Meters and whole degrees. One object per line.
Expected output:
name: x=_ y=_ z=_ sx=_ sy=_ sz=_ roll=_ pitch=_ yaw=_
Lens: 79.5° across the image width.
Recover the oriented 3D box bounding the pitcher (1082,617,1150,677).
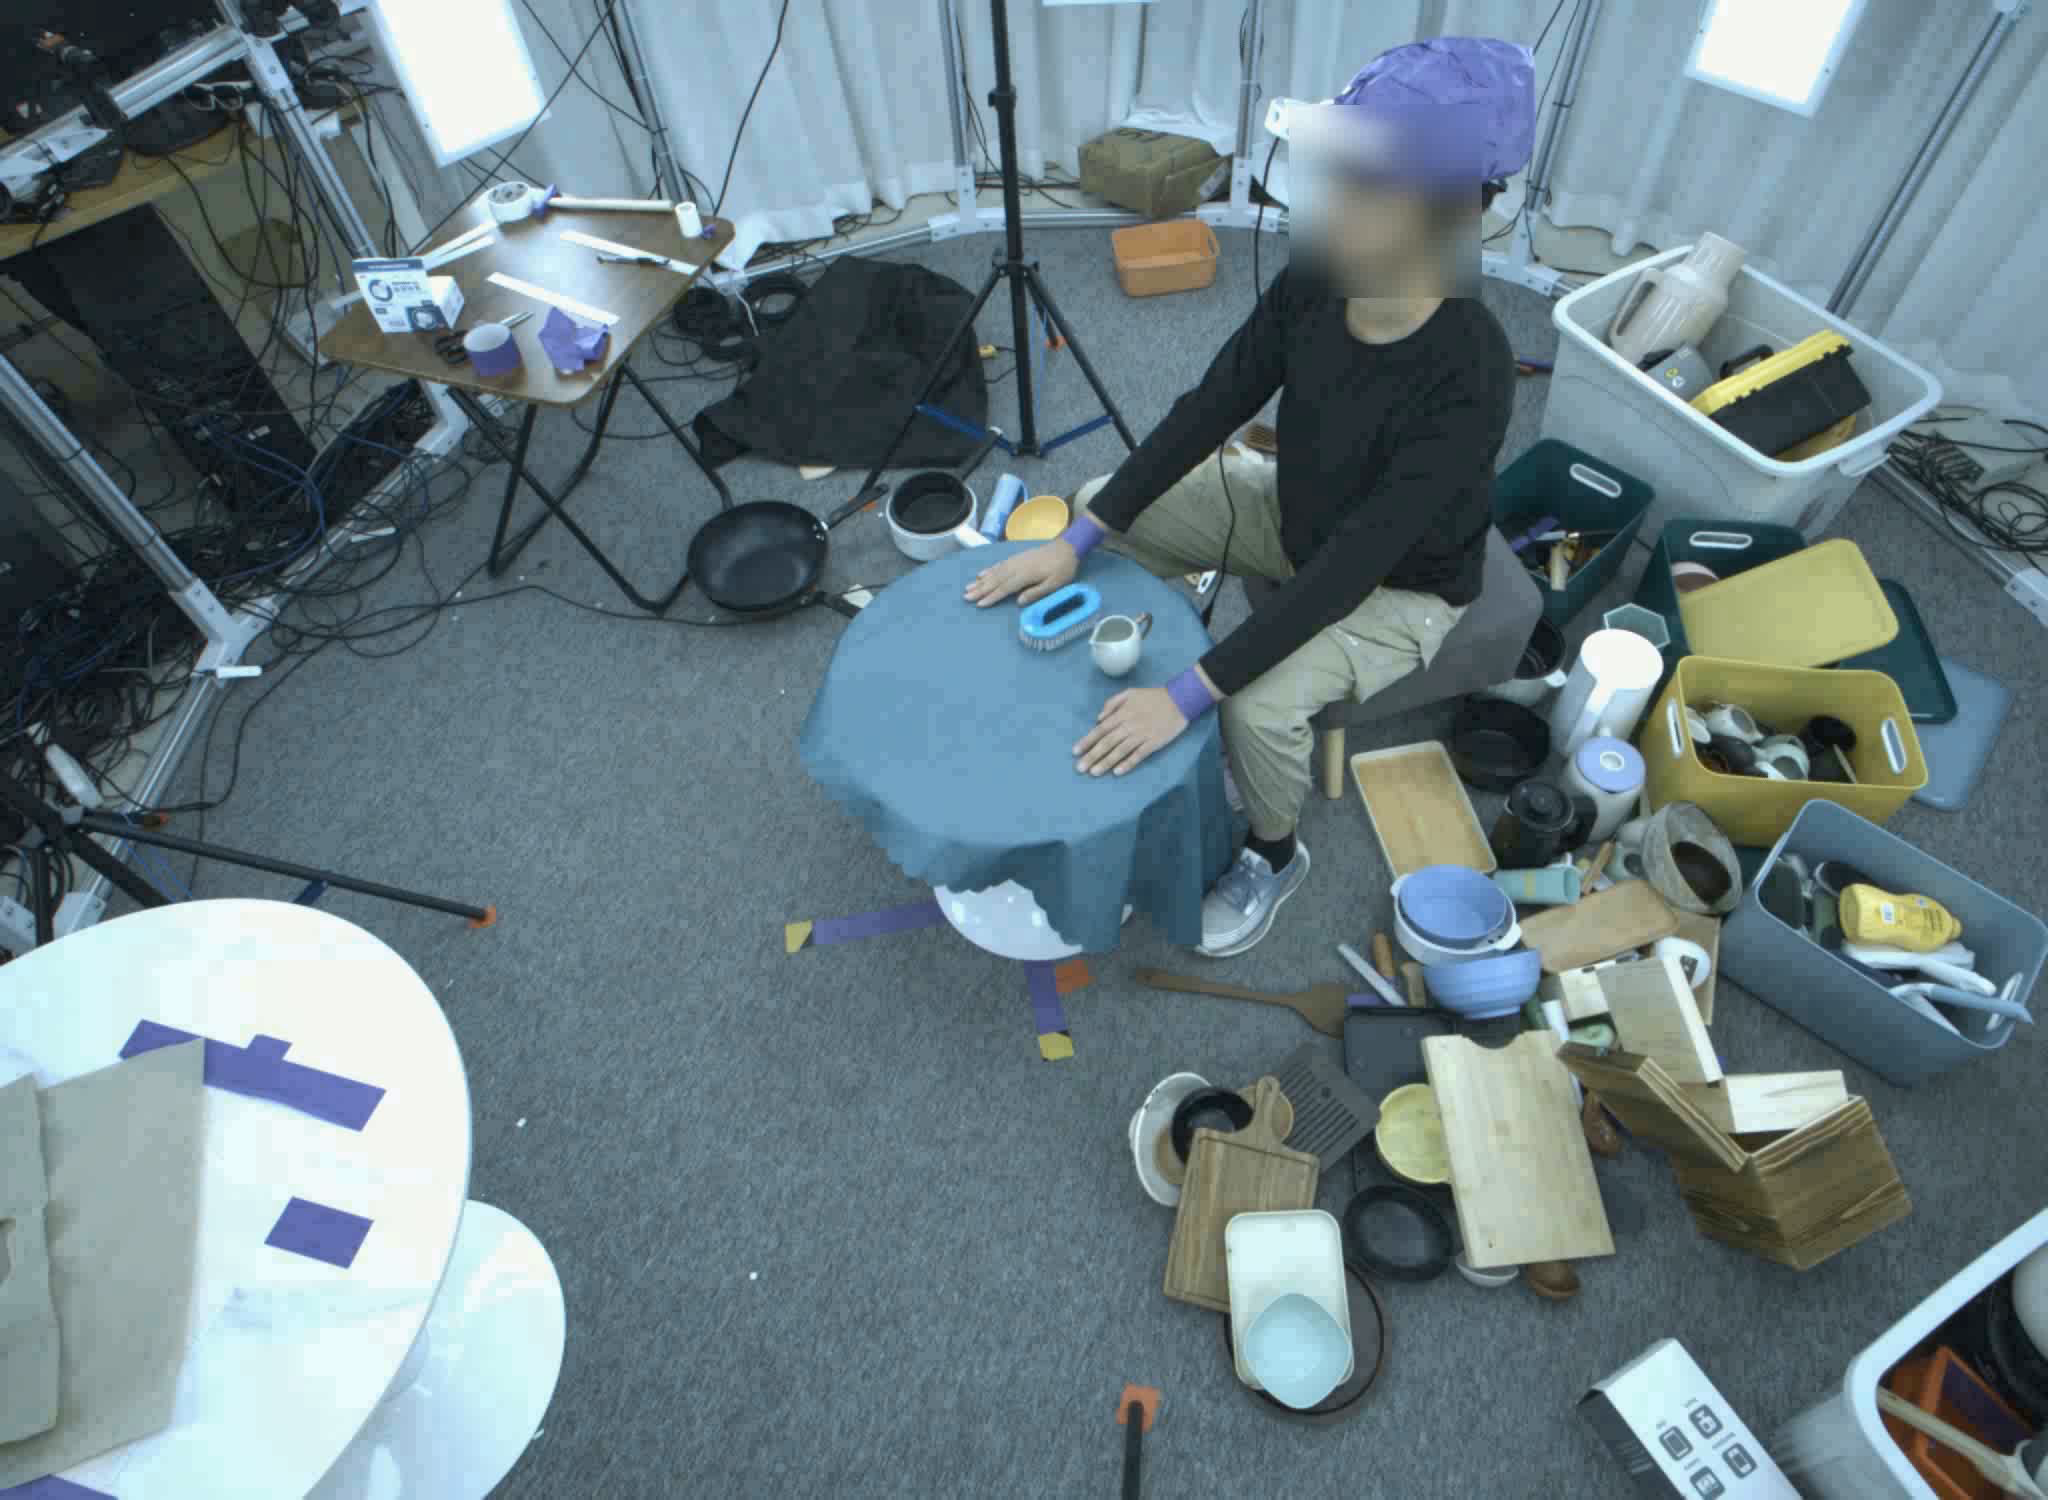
pitcher: x=0.137 y=-0.155 z=1.841 sx=0.120 sy=0.089 sz=0.074 roll=-30 pitch=64 yaw=-13

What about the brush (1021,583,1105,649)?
brush: x=0.058 y=-0.219 z=1.902 sx=0.143 sy=0.064 sz=0.082 roll=-29 pitch=54 yaw=-18
